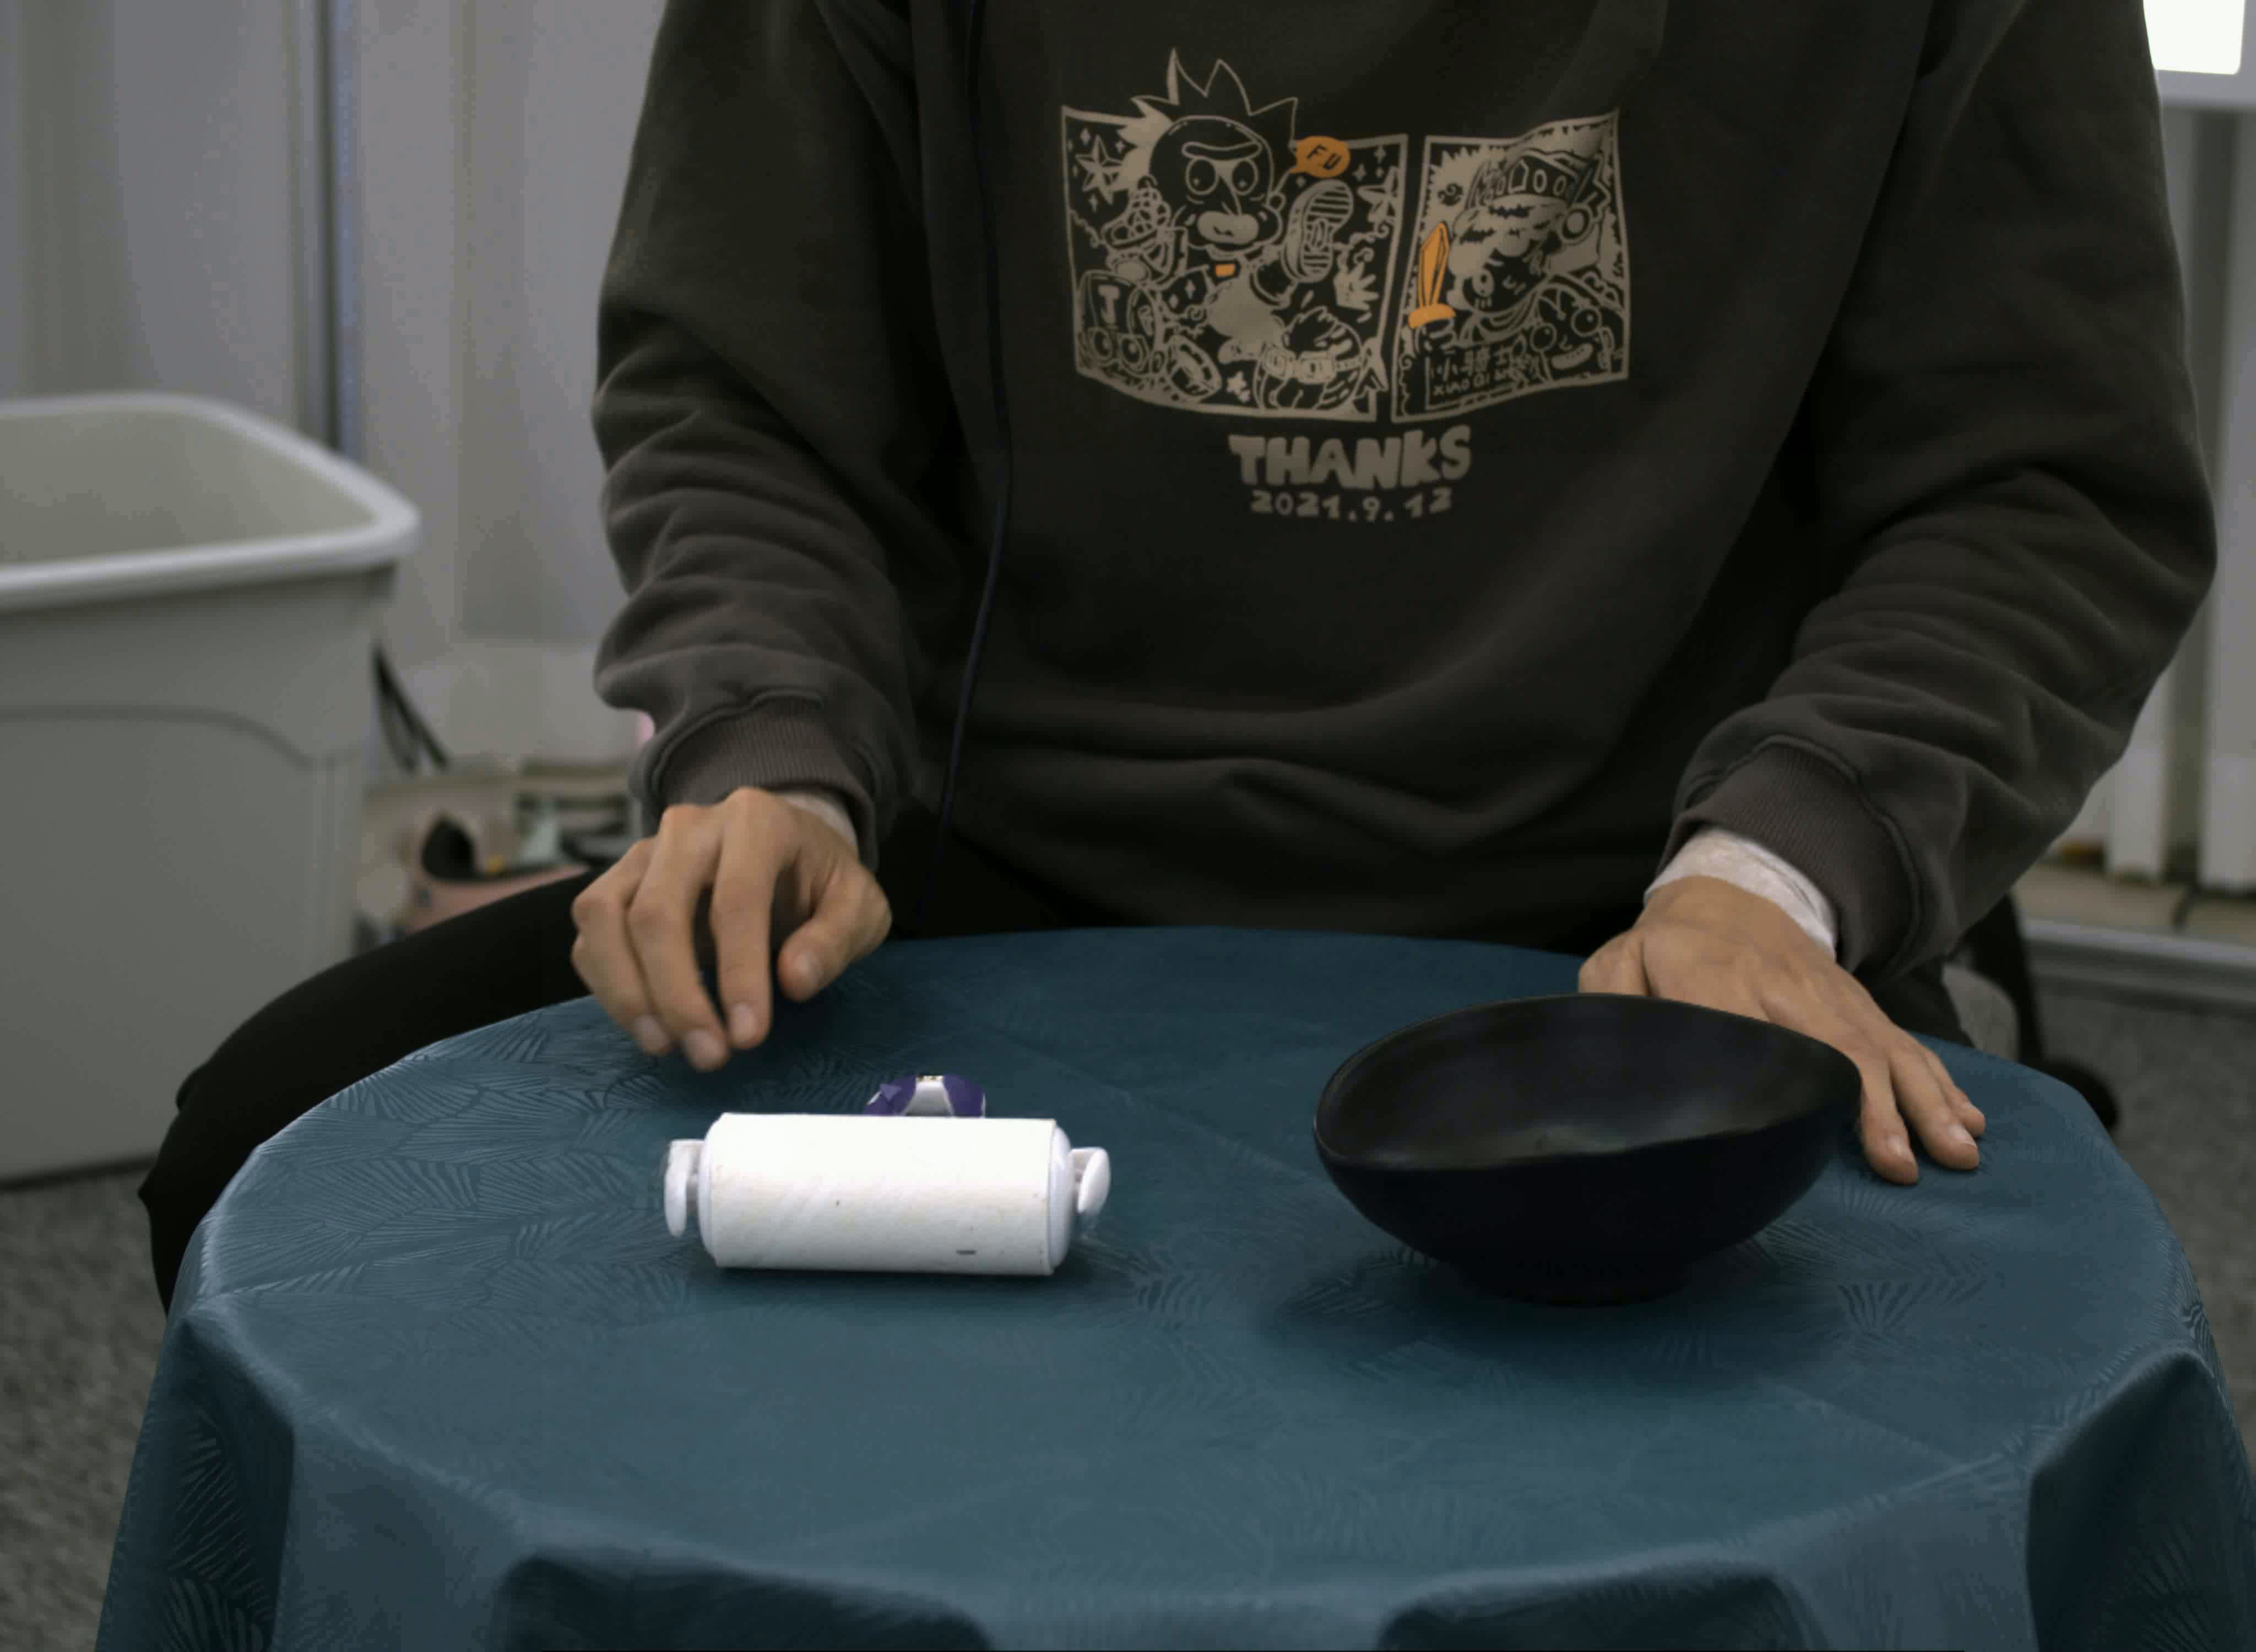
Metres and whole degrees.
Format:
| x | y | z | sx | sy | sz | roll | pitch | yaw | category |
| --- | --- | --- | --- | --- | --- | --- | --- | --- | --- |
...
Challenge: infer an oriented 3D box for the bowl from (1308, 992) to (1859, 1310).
| x | y | z | sx | sy | sz | roll | pitch | yaw | category |
| --- | --- | --- | --- | --- | --- | --- | --- | --- | --- |
| 0.136 | 0.102 | 1.557 | 0.171 | 0.067 | 0.135 | -9 | 17 | -27 | bowl |

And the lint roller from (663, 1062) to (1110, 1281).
| x | y | z | sx | sy | sz | roll | pitch | yaw | category |
| --- | --- | --- | --- | --- | --- | --- | --- | --- | --- |
| -0.065 | 0.090 | 1.618 | 0.132 | 0.050 | 0.180 | 2 | 18 | 5 | lint roller |
